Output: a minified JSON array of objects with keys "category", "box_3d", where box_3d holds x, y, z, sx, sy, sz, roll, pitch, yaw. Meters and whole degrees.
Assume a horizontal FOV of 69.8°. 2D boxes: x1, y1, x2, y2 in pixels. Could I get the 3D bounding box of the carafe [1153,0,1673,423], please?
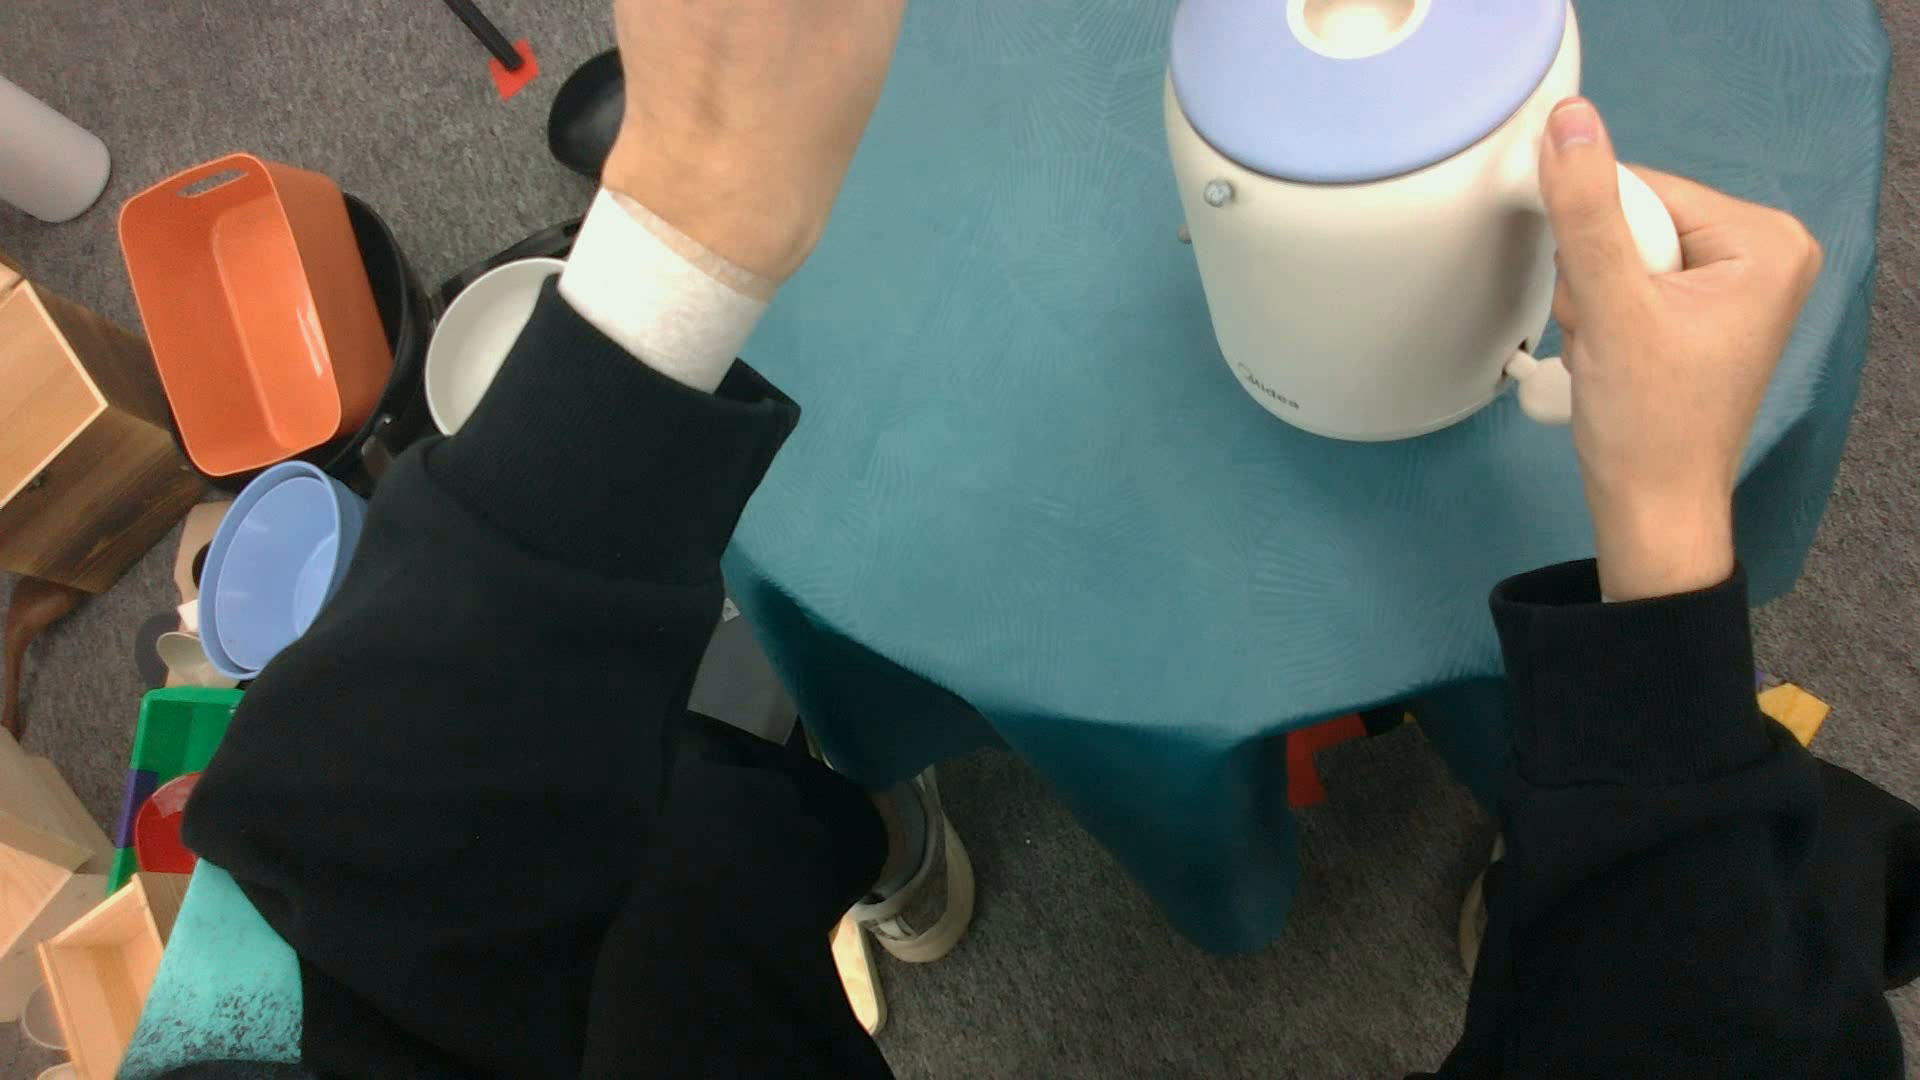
[{"category":"carafe","box_3d":[0.162,-0.121,0.493,0.191,0.182,0.132,39,84,25]}]
